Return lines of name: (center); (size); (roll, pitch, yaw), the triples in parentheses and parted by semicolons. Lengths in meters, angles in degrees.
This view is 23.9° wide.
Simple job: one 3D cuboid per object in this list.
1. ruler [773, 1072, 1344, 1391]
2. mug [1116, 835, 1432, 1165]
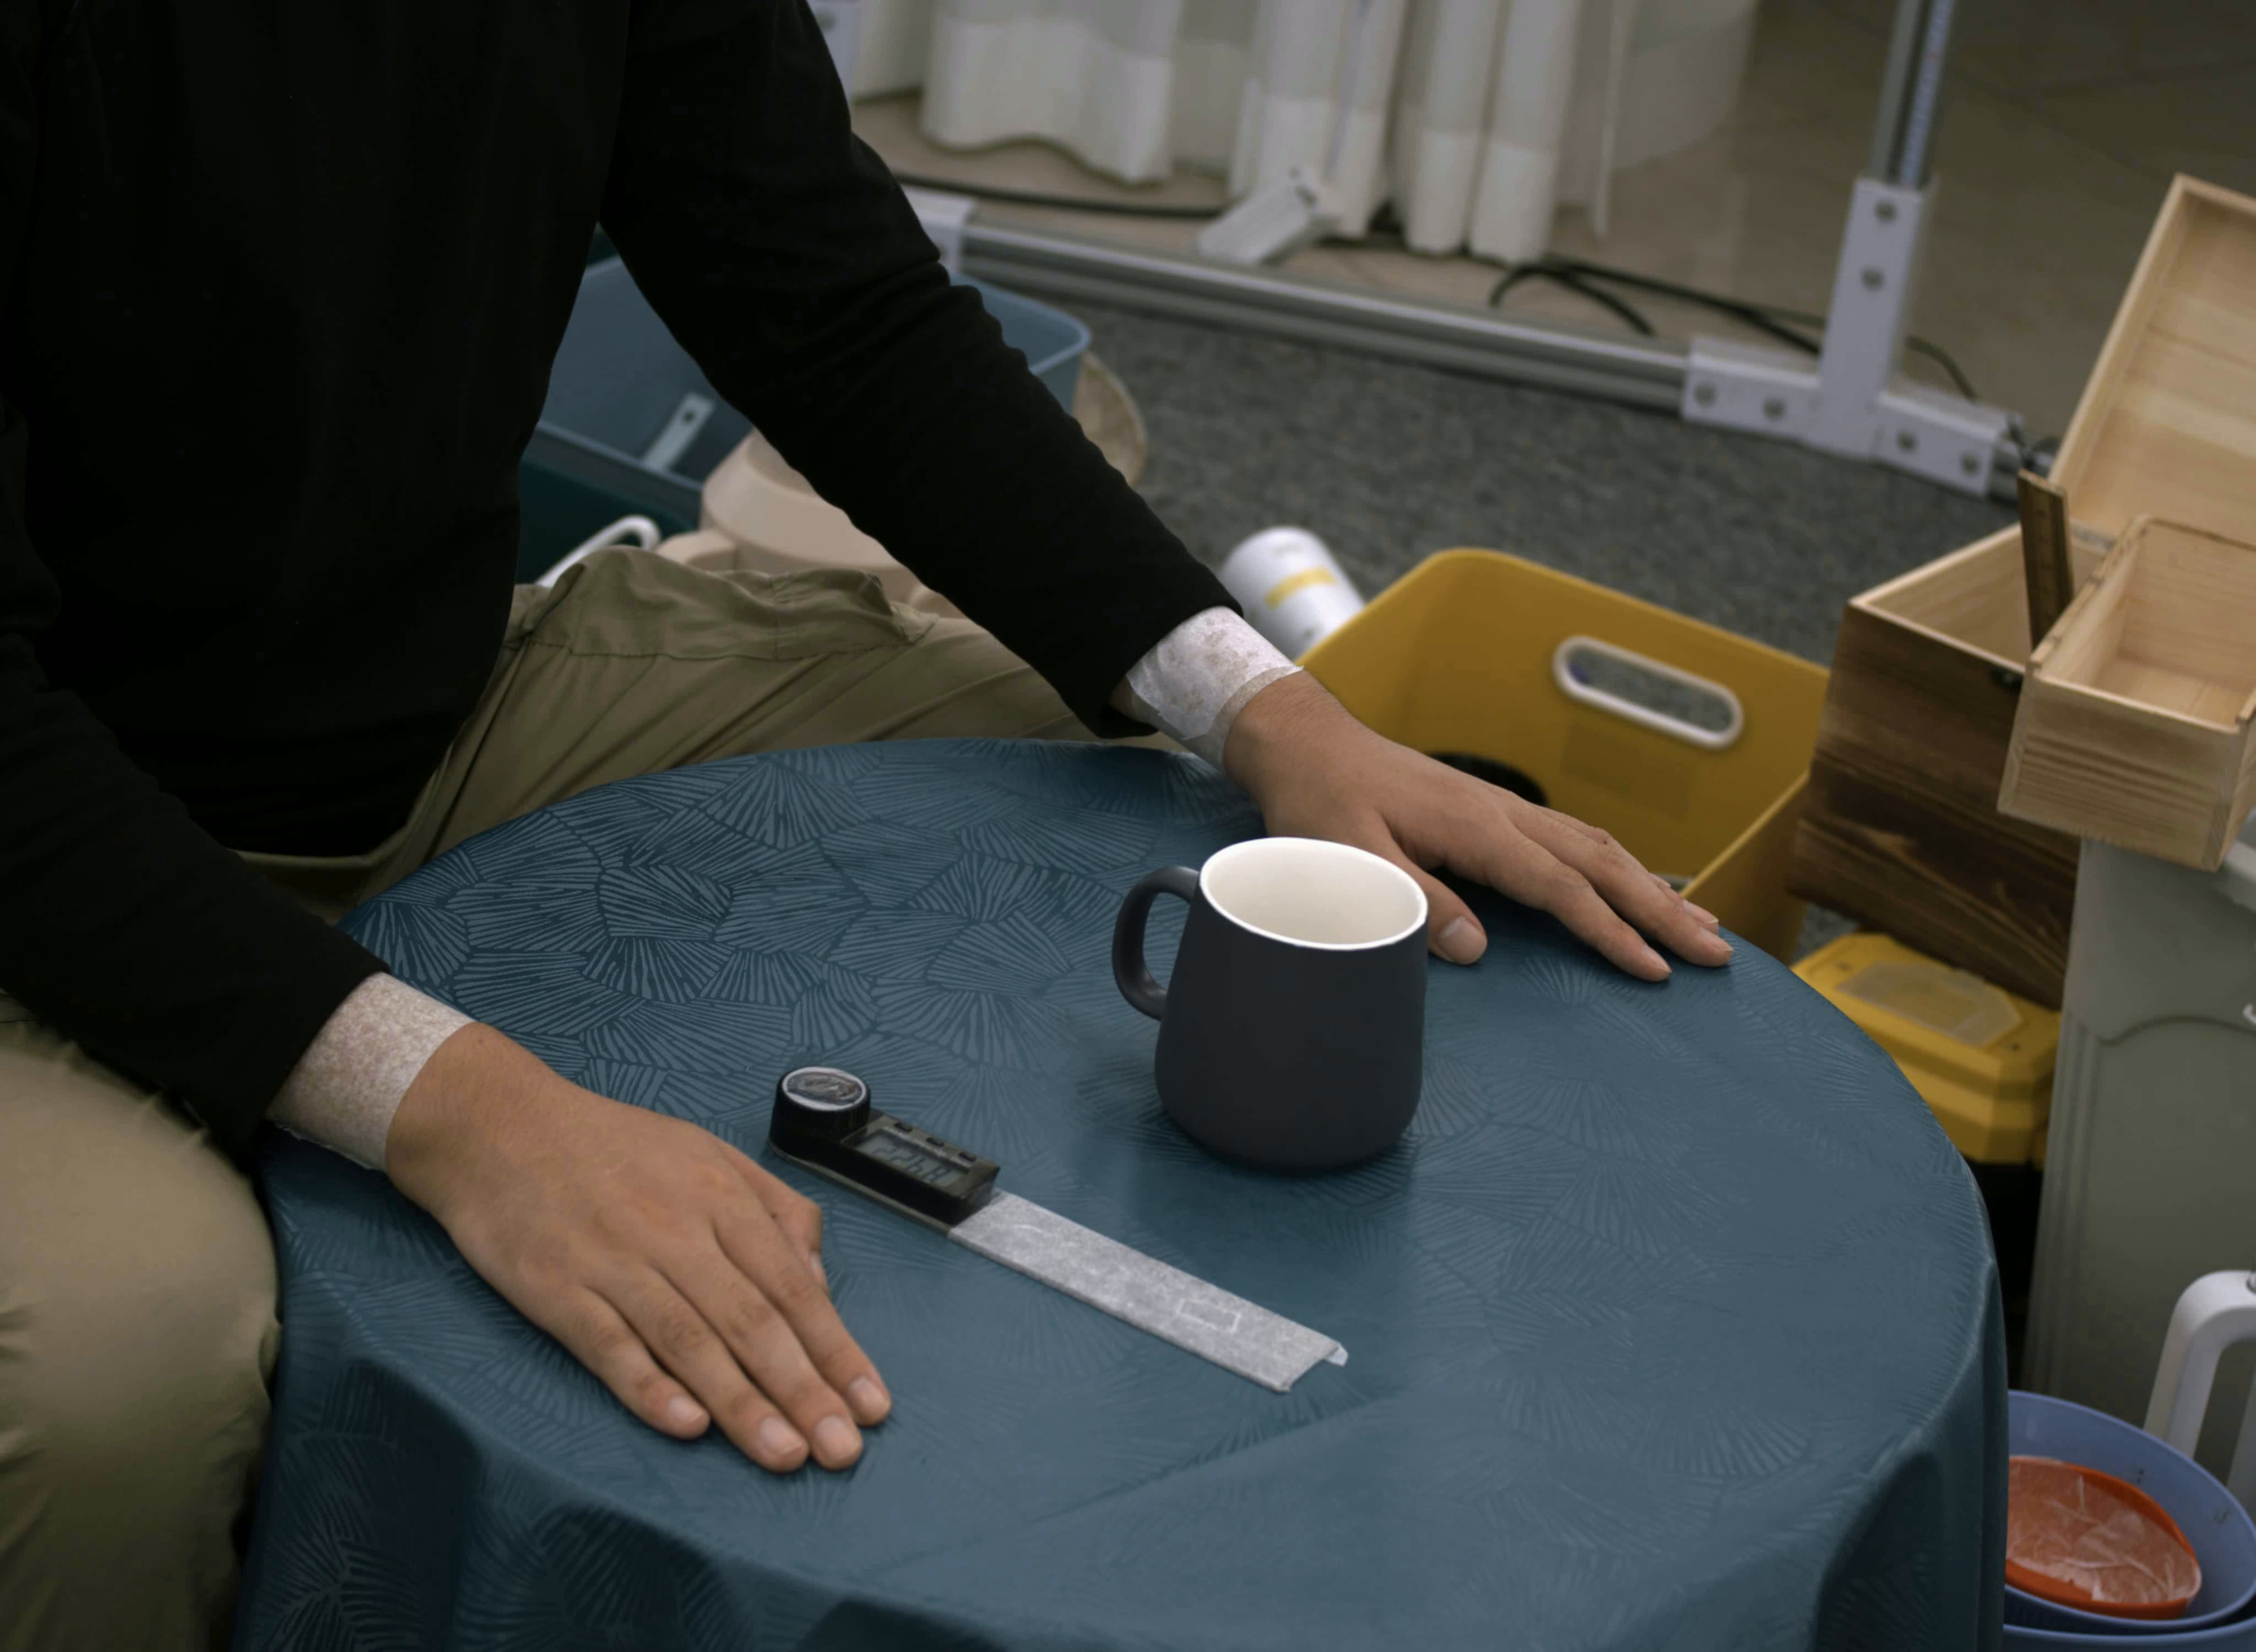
ruler: (-0.028, 0.131, 1.757); (0.219, 0.024, 0.038); (22, 37, 30)
mug: (0.047, 0.055, 1.845); (0.124, 0.089, 0.093); (26, 31, 31)
